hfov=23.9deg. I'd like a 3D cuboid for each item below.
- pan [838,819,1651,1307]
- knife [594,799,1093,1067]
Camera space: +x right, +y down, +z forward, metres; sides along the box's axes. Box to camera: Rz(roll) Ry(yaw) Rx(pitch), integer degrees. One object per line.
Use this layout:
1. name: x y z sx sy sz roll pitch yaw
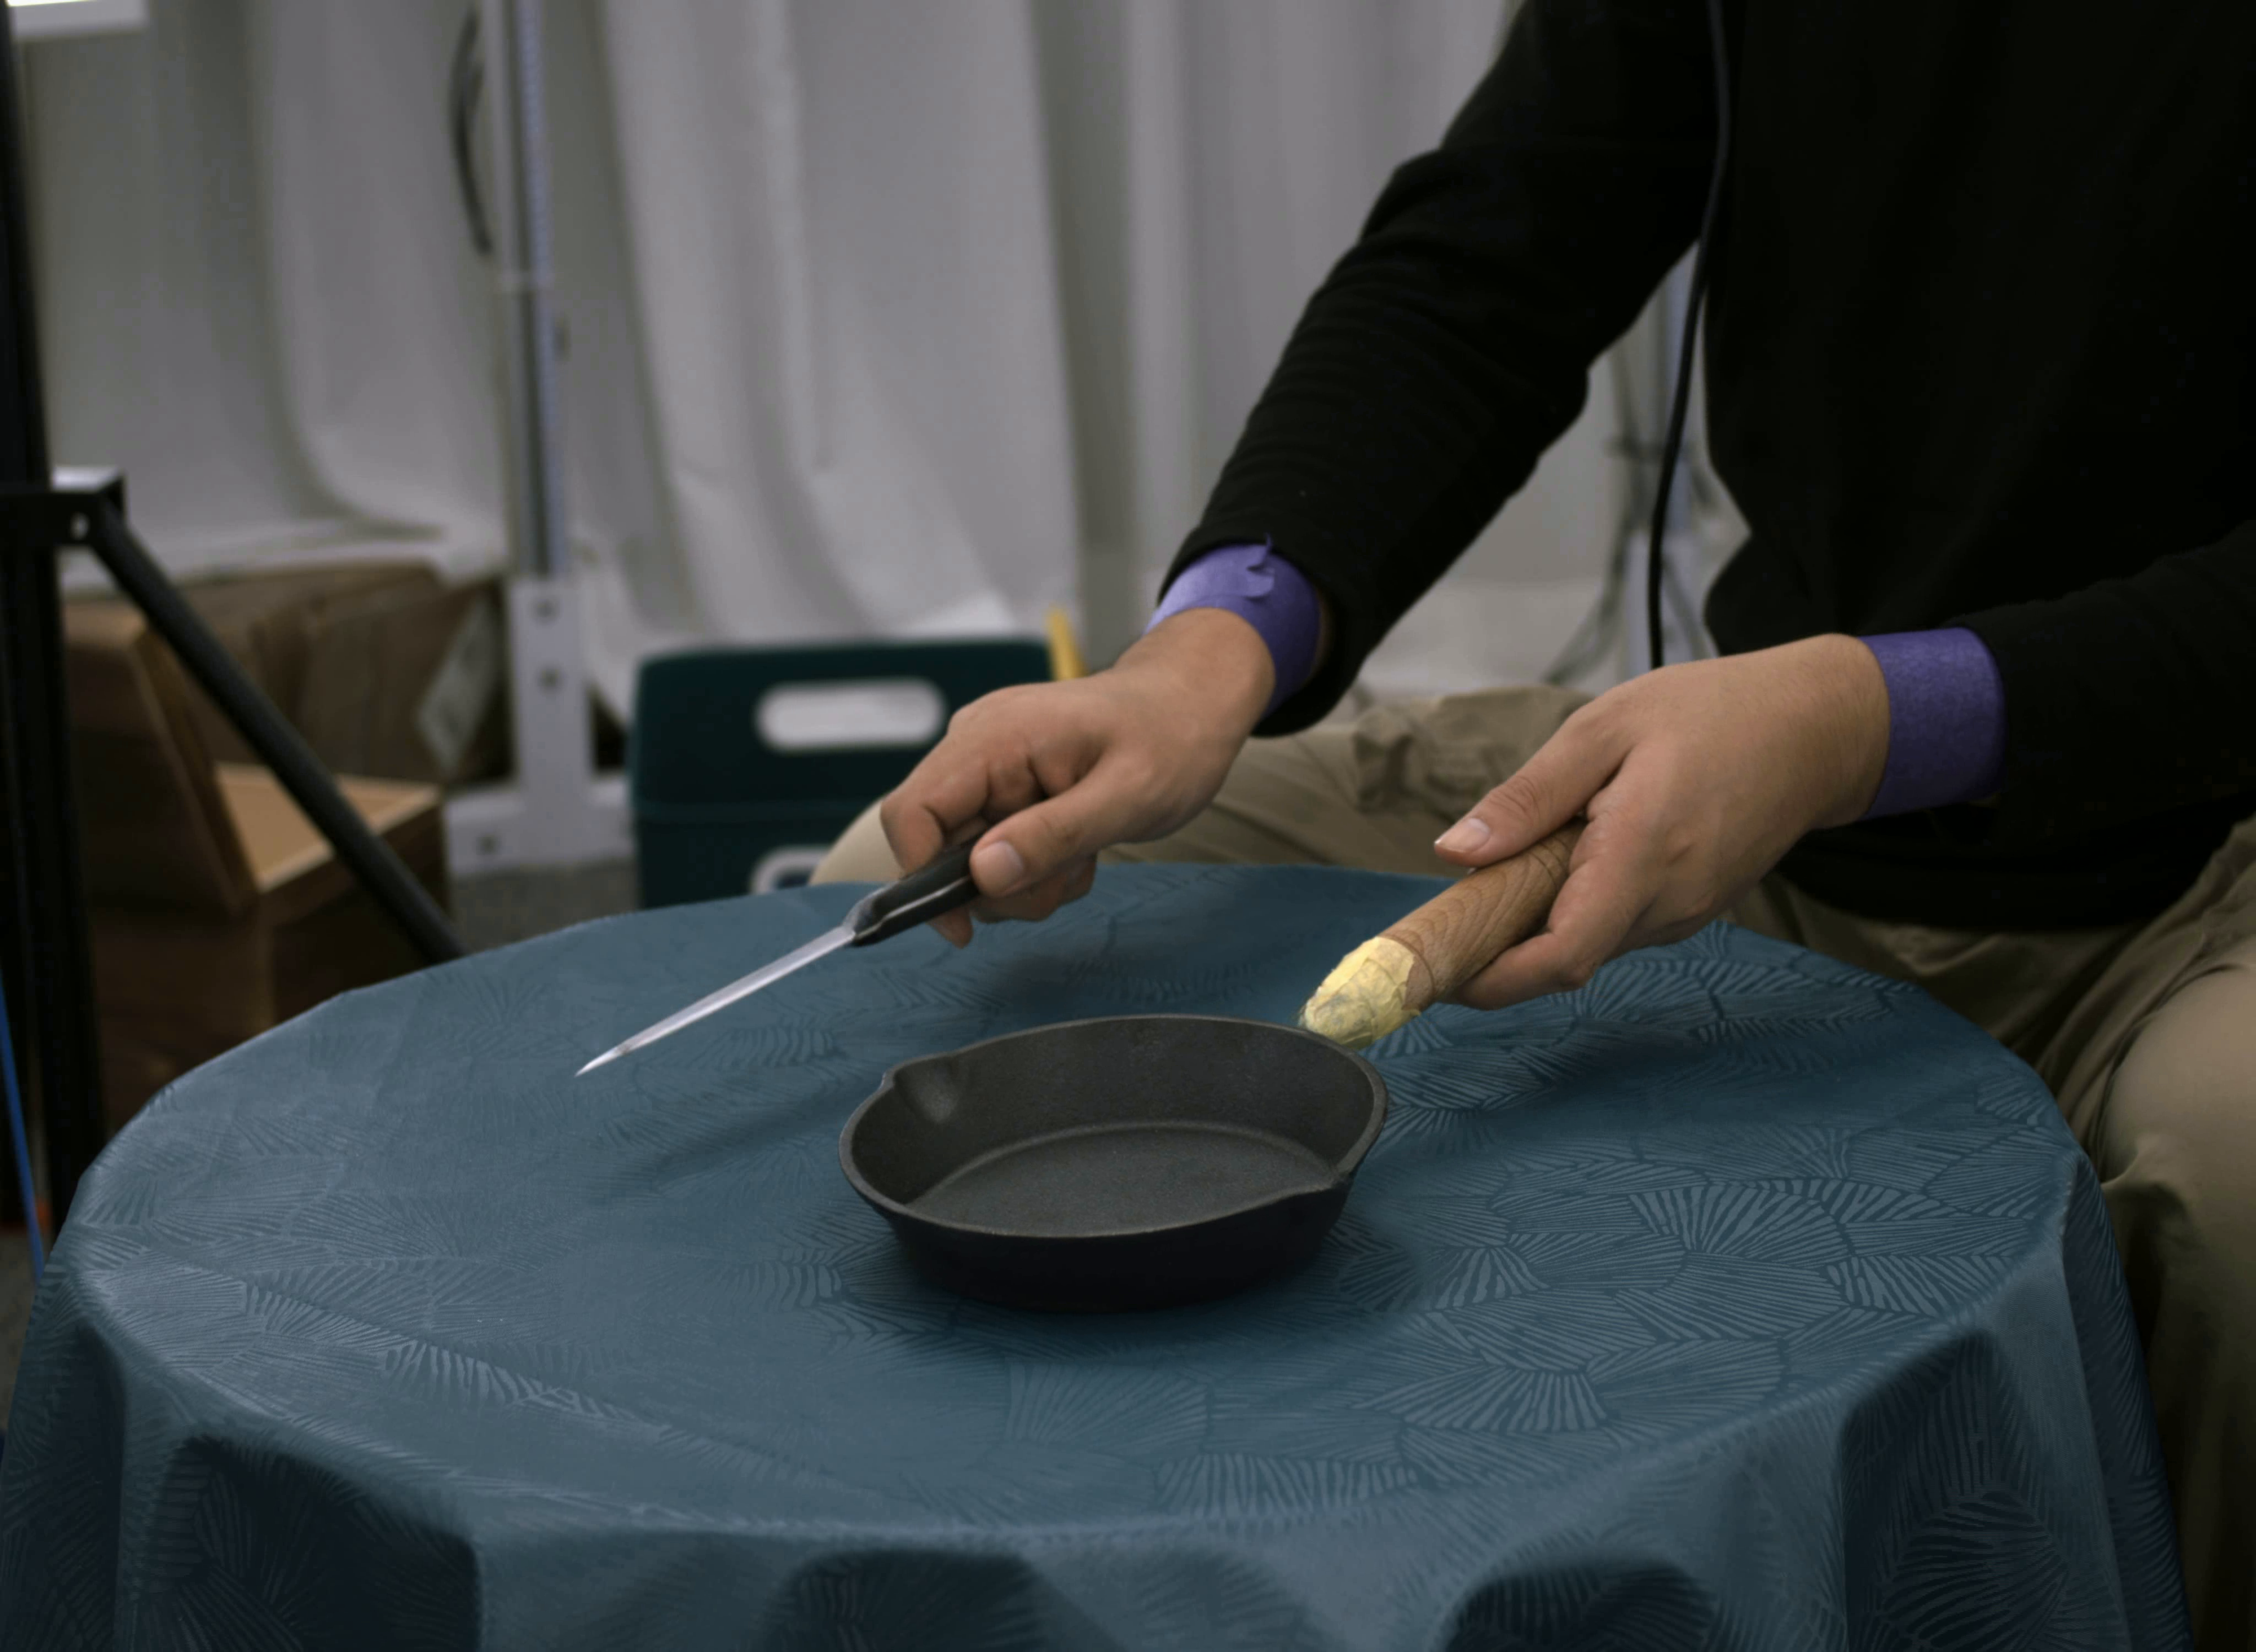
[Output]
1. pan: 0.054 0.066 1.562 0.173 0.049 0.317 14 27 43
2. knife: -0.089 0.034 1.667 0.025 0.016 0.233 -11 11 42
